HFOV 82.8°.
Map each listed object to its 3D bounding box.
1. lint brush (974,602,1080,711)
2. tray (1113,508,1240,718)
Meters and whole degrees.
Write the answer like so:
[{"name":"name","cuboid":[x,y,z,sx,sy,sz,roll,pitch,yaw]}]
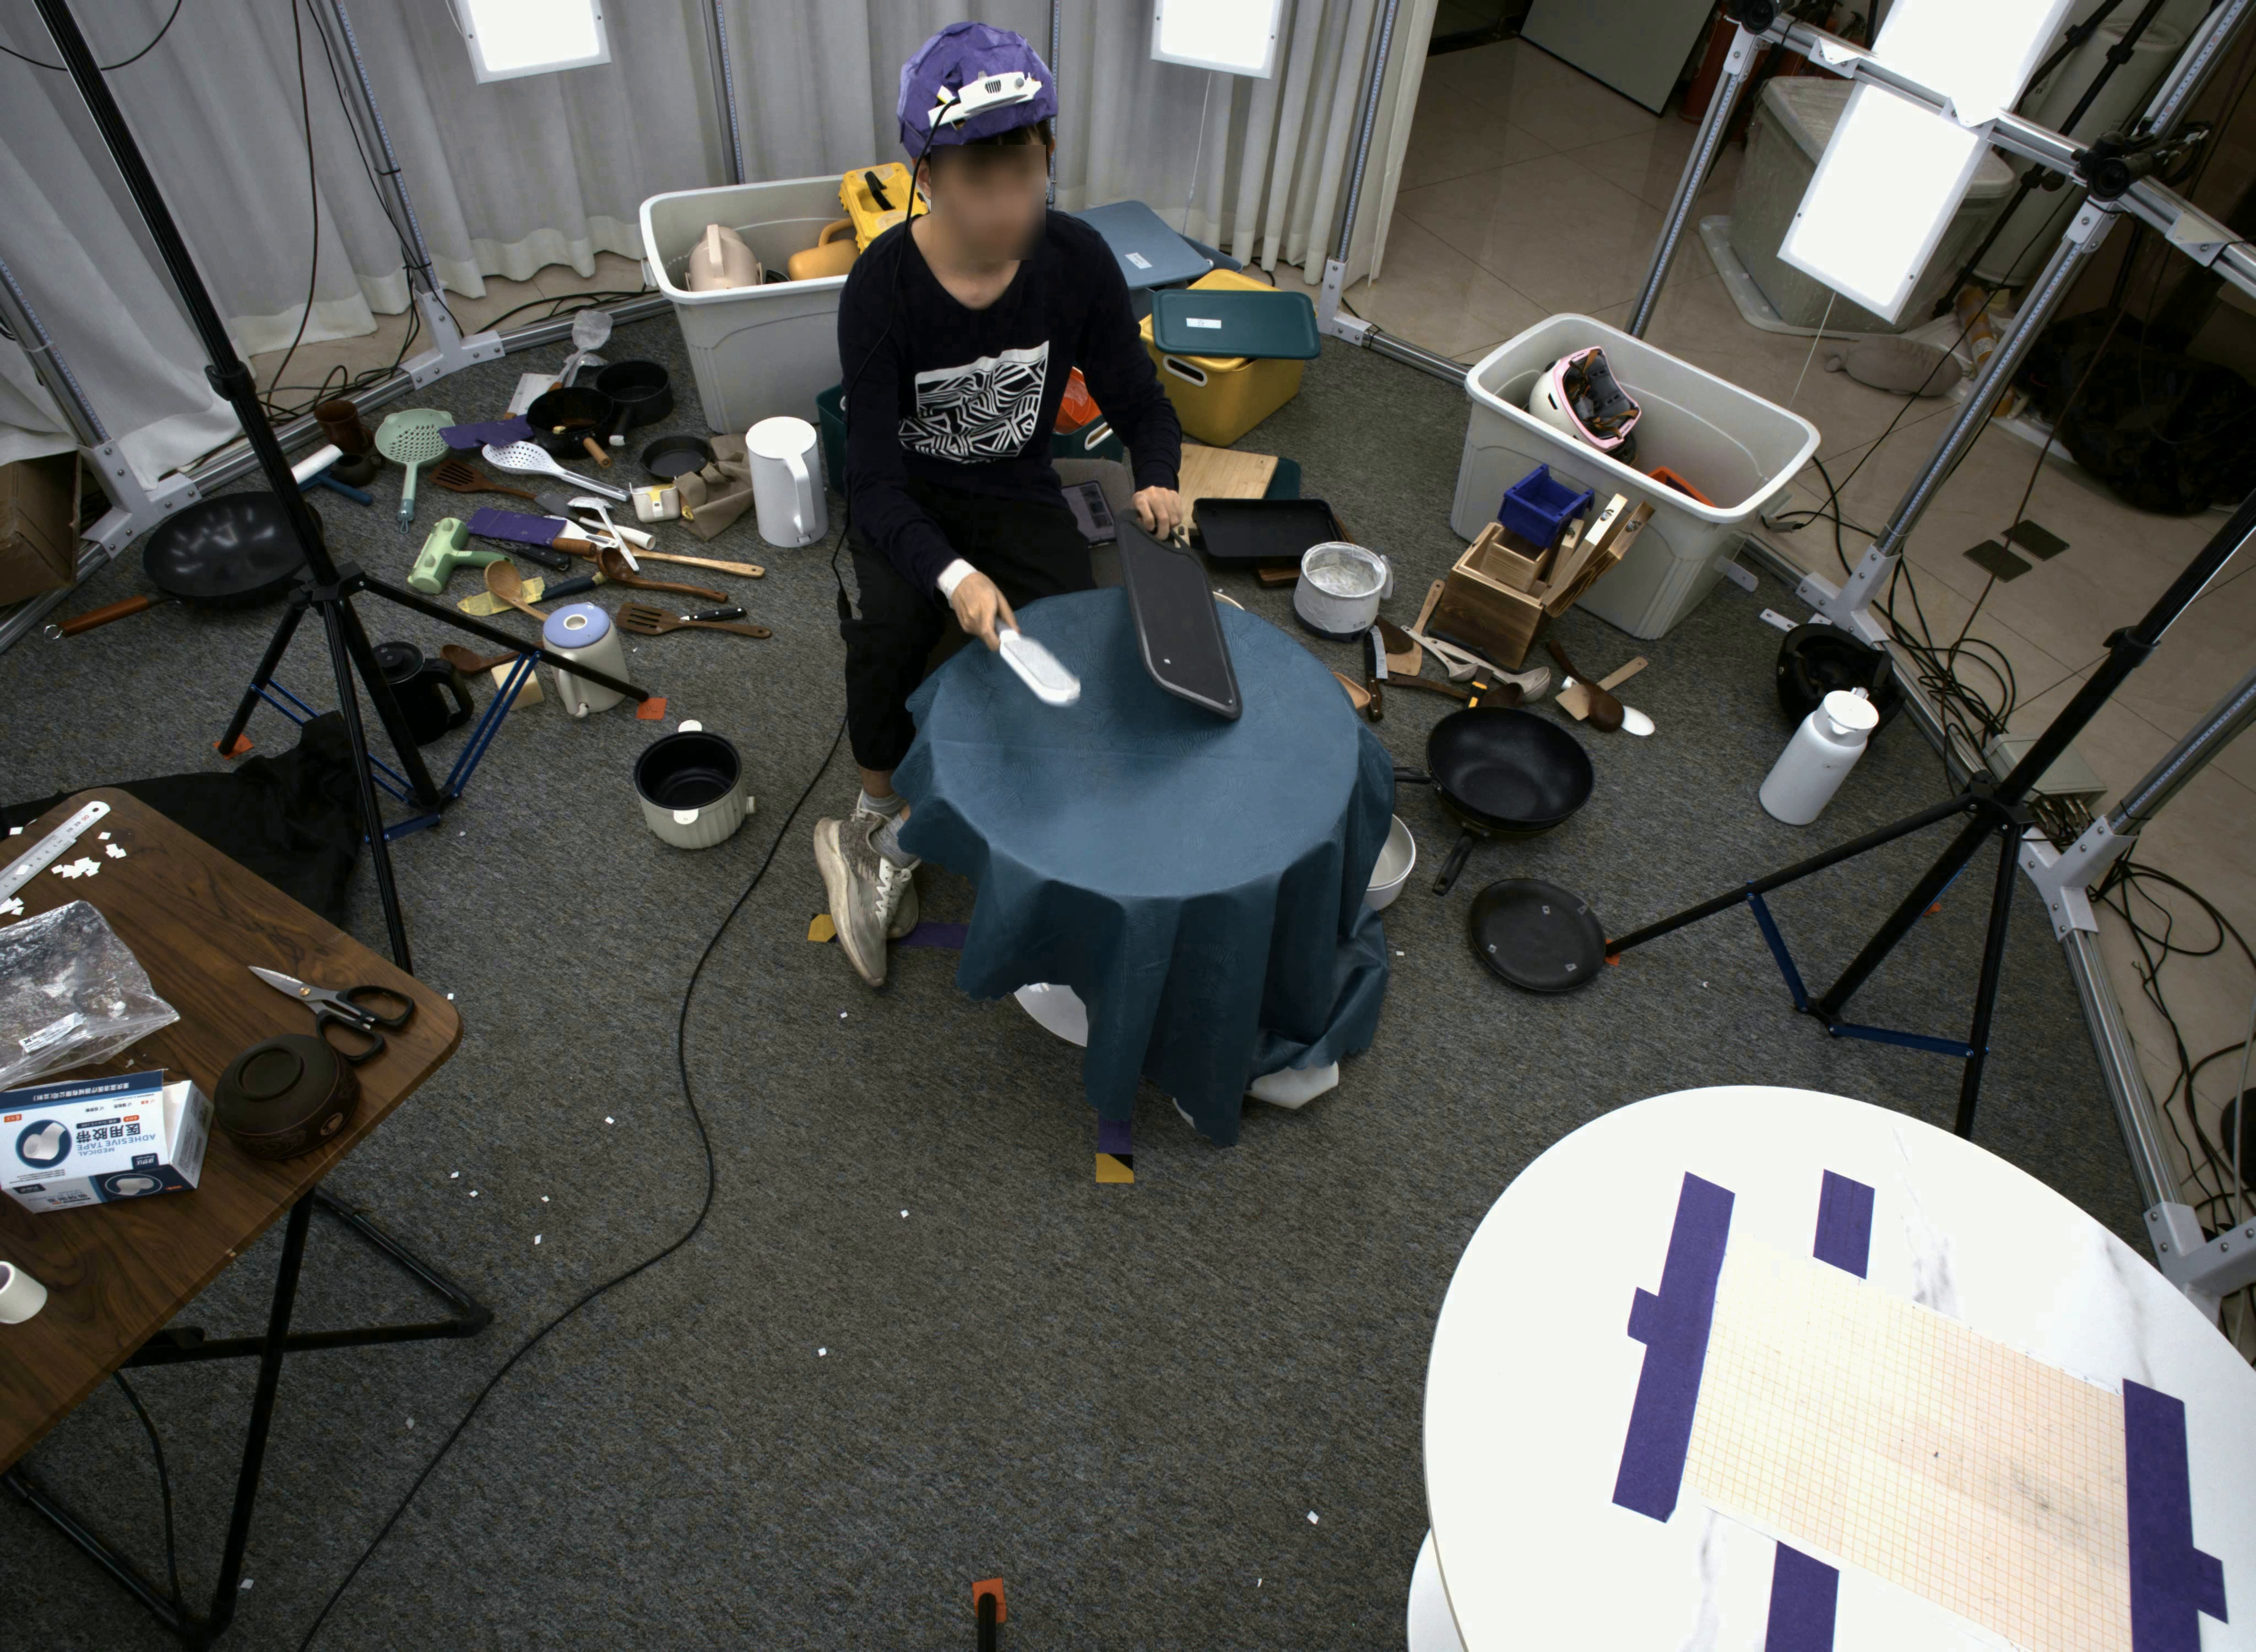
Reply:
[{"name":"lint brush","cuboid":[-0.144,-0.235,1.748,0.060,0.020,0.316,-5,34,-28]},{"name":"tray","cuboid":[0.068,-0.310,1.817,0.208,0.010,0.332,19,50,-43]}]
